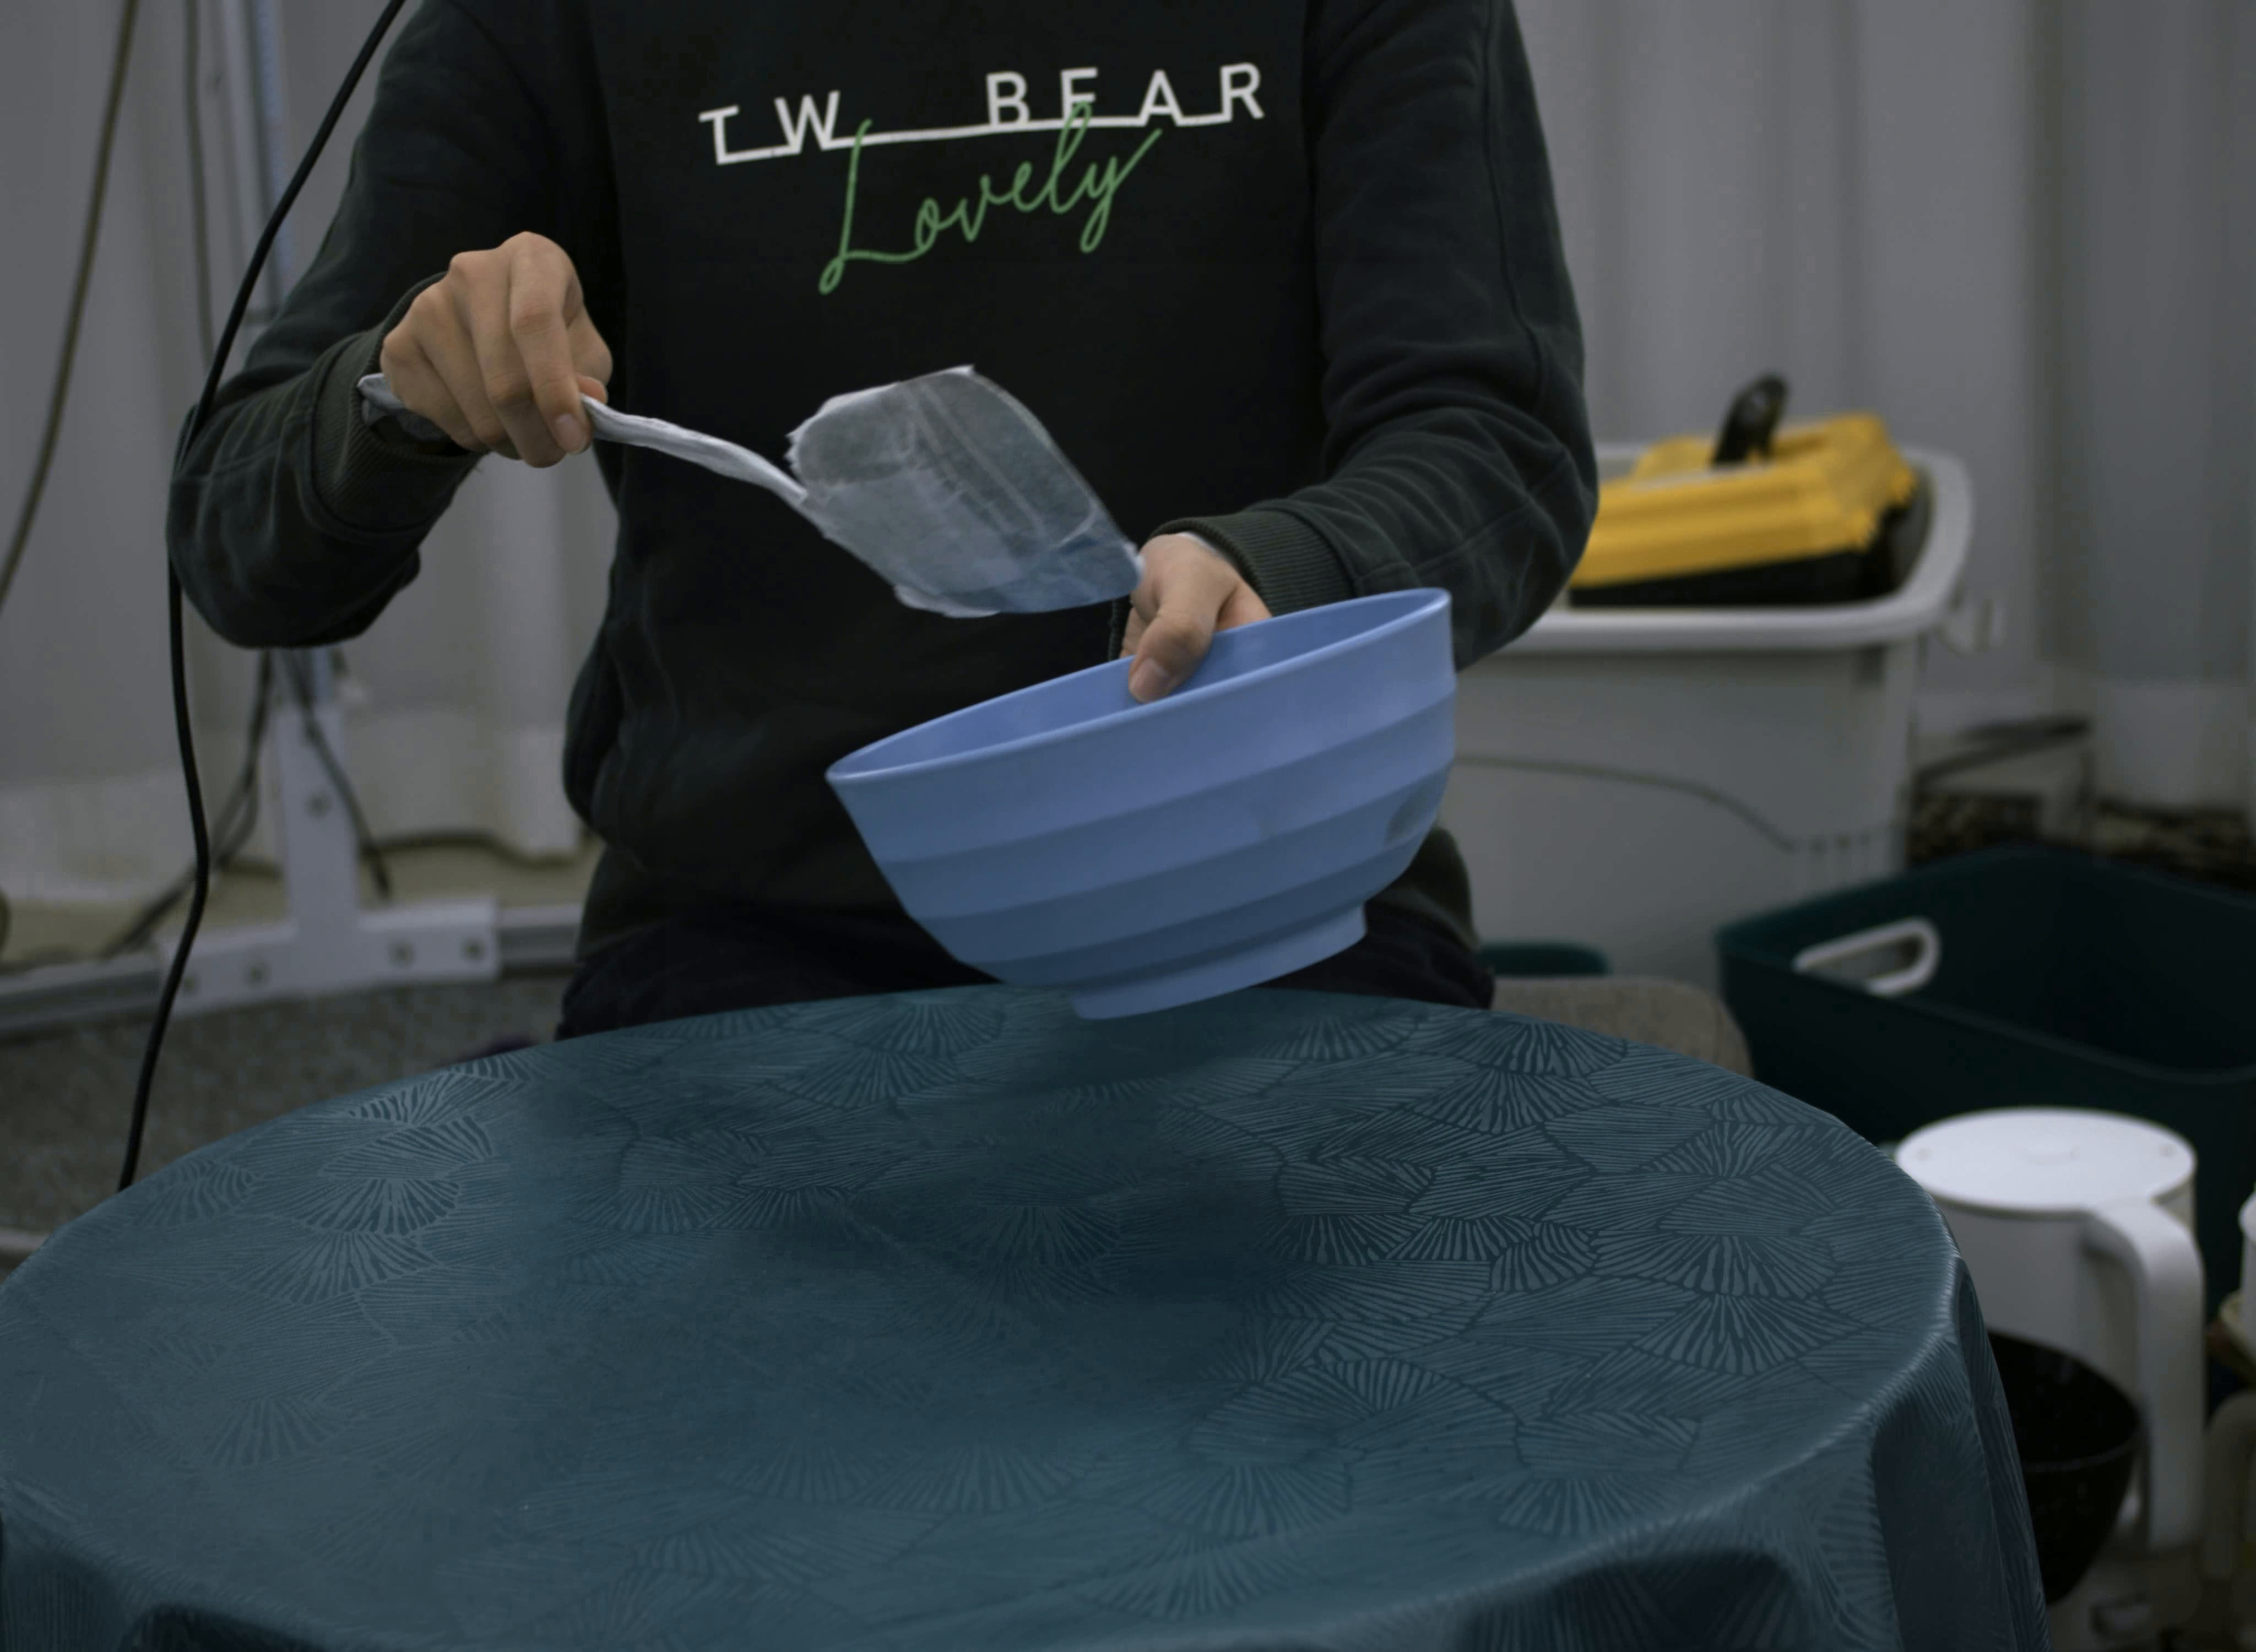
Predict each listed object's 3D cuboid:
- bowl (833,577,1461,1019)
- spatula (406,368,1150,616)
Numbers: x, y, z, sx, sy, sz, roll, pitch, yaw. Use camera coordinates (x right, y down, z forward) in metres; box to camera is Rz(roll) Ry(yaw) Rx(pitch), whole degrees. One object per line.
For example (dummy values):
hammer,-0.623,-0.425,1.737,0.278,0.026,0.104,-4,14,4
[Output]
bowl,0.017,-0.001,1.655,0.196,0.095,0.197,-17,6,1
spatula,-0.129,-0.117,1.712,0.045,0.097,0.367,-51,35,-16
